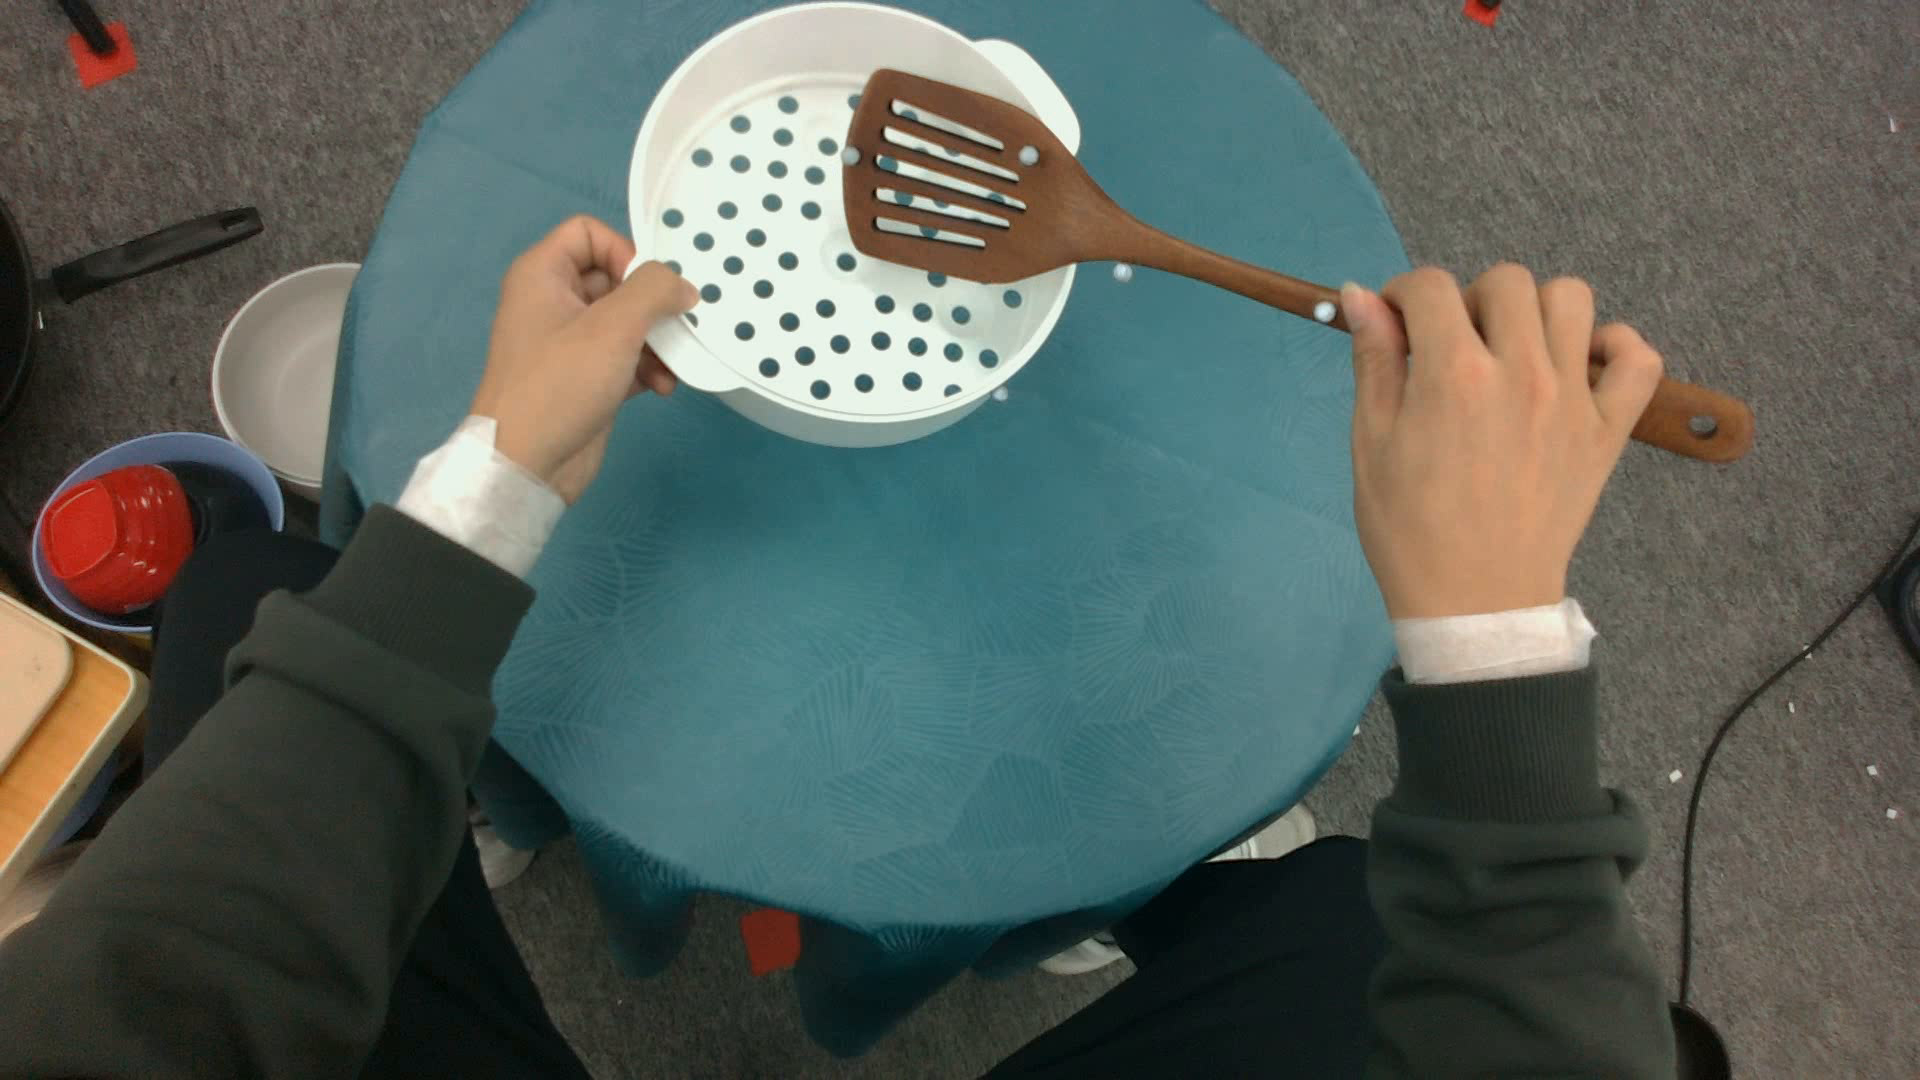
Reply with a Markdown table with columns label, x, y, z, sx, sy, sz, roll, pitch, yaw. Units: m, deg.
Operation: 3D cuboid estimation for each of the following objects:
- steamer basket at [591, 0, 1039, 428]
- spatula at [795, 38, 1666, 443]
| label | x | y | z | sx | sy | sz | roll | pitch | yaw |
| --- | --- | --- | --- | --- | --- | --- | --- | --- | --- |
| steamer basket | -0.066 | -0.152 | 0.648 | 0.231 | 0.069 | 0.202 | -41 | 87 | -14 |
| spatula | 0.100 | -0.120 | 0.580 | 0.385 | 0.085 | 0.024 | 24 | 33 | 17 |
